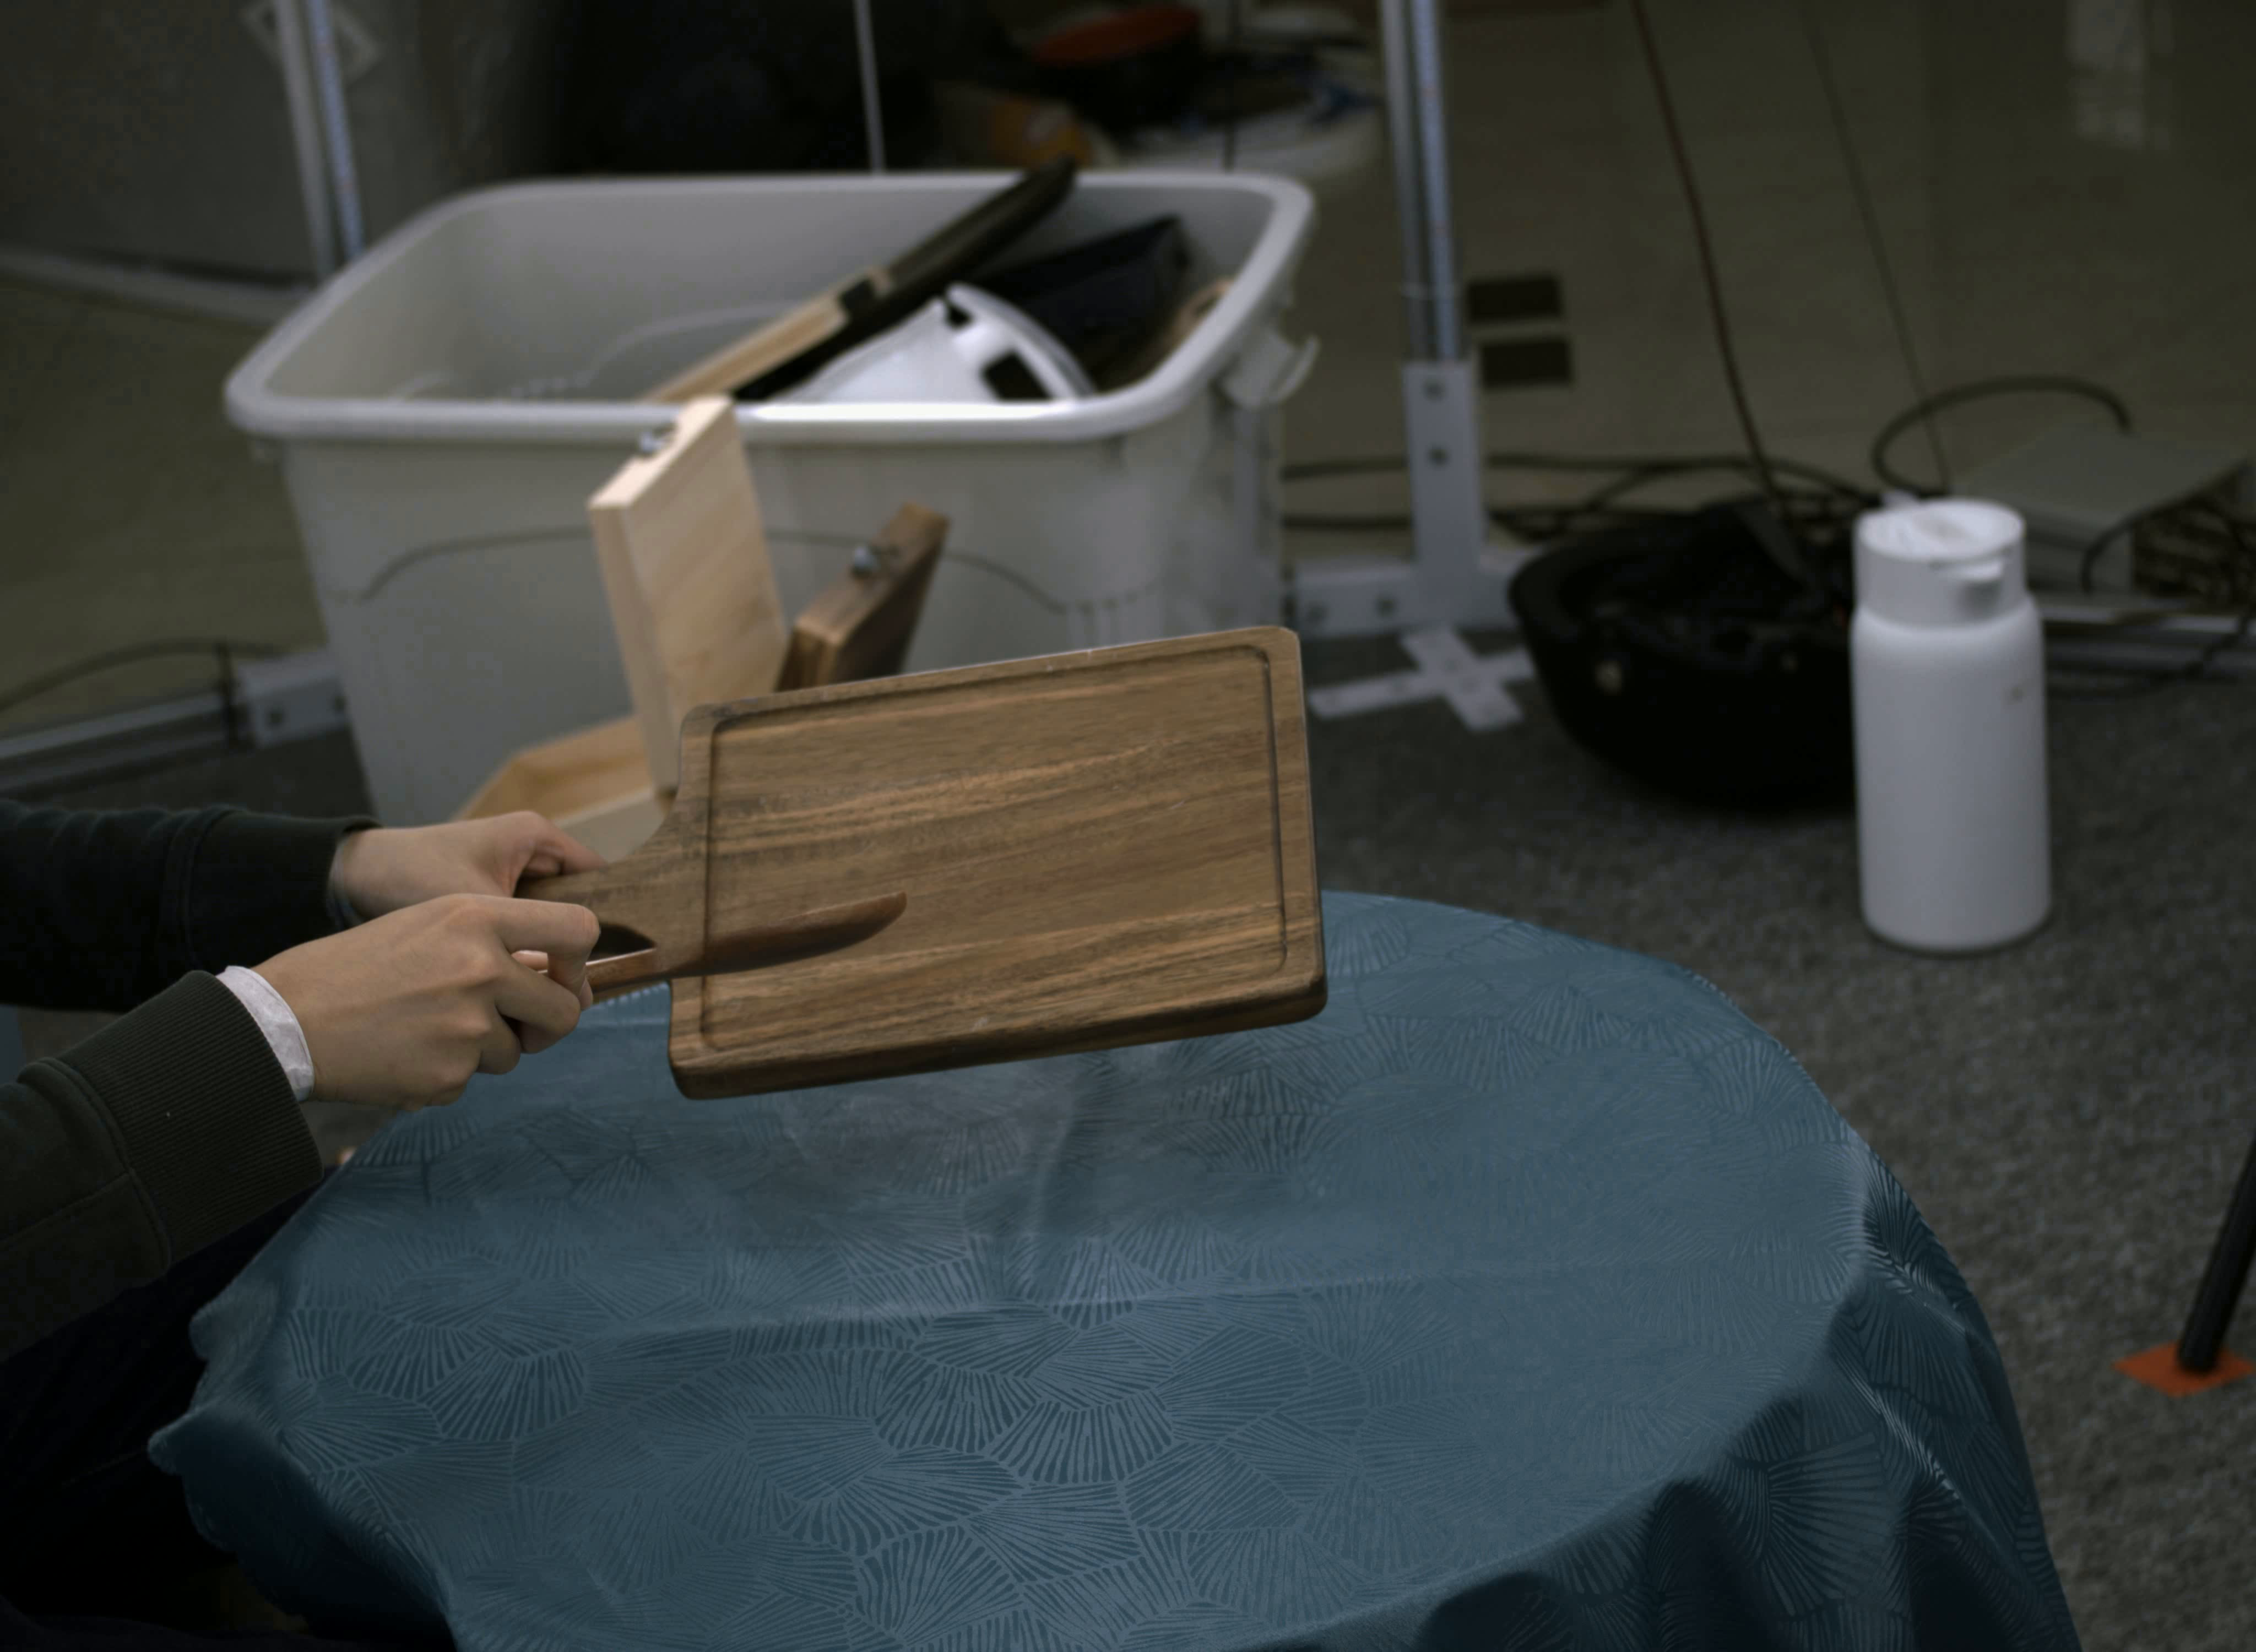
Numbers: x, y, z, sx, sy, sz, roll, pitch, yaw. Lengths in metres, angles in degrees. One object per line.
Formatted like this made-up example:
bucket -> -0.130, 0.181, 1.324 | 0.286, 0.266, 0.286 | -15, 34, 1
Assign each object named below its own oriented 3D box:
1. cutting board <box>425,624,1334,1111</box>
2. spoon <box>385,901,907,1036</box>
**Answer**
cutting board -> -0.100, 0.020, 2.192 | 0.352, 0.023, 0.197 | -8, 49, 6
spoon -> -0.169, 0.050, 2.002 | 0.215, 0.017, 0.075 | -10, 0, -39
